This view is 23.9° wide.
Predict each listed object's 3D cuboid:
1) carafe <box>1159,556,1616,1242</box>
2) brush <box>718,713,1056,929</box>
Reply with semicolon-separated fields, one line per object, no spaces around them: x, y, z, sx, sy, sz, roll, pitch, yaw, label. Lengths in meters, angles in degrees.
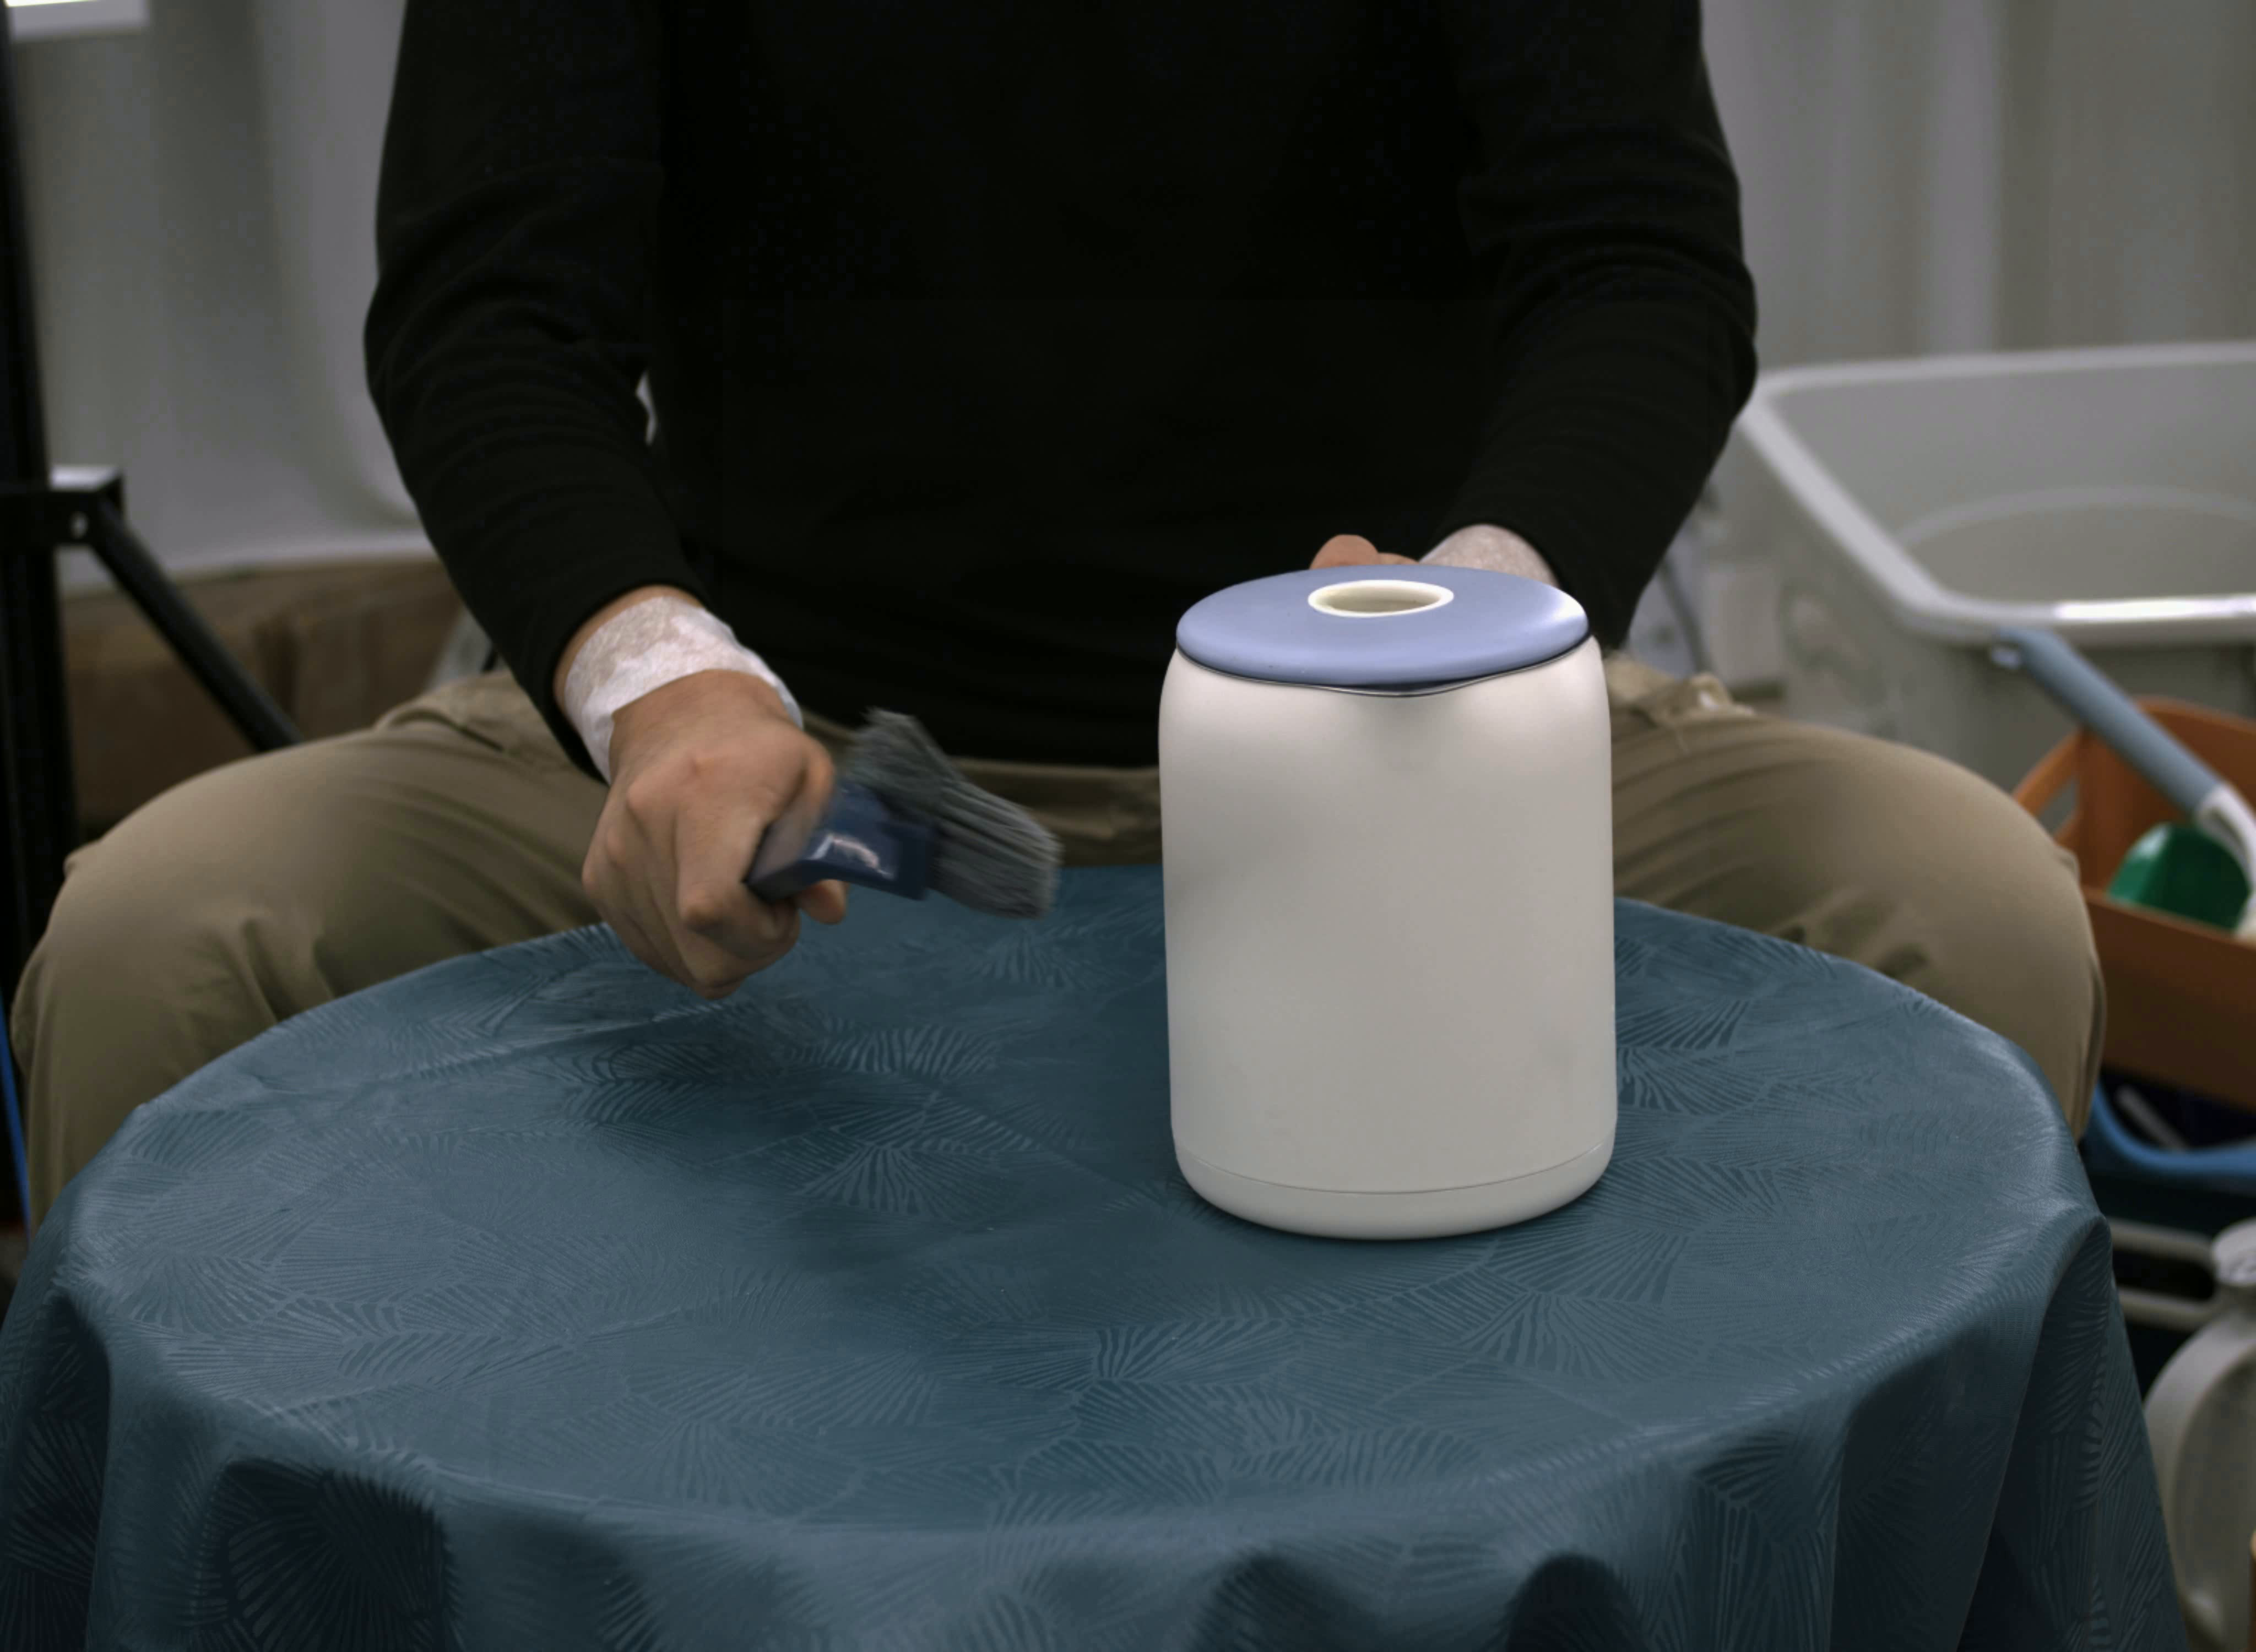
0.073;0.014;1.563;0.131;0.182;0.192;-3;14;-4;carafe
-0.091;0.000;1.573;0.094;0.033;0.277;28;-14;-21;brush
